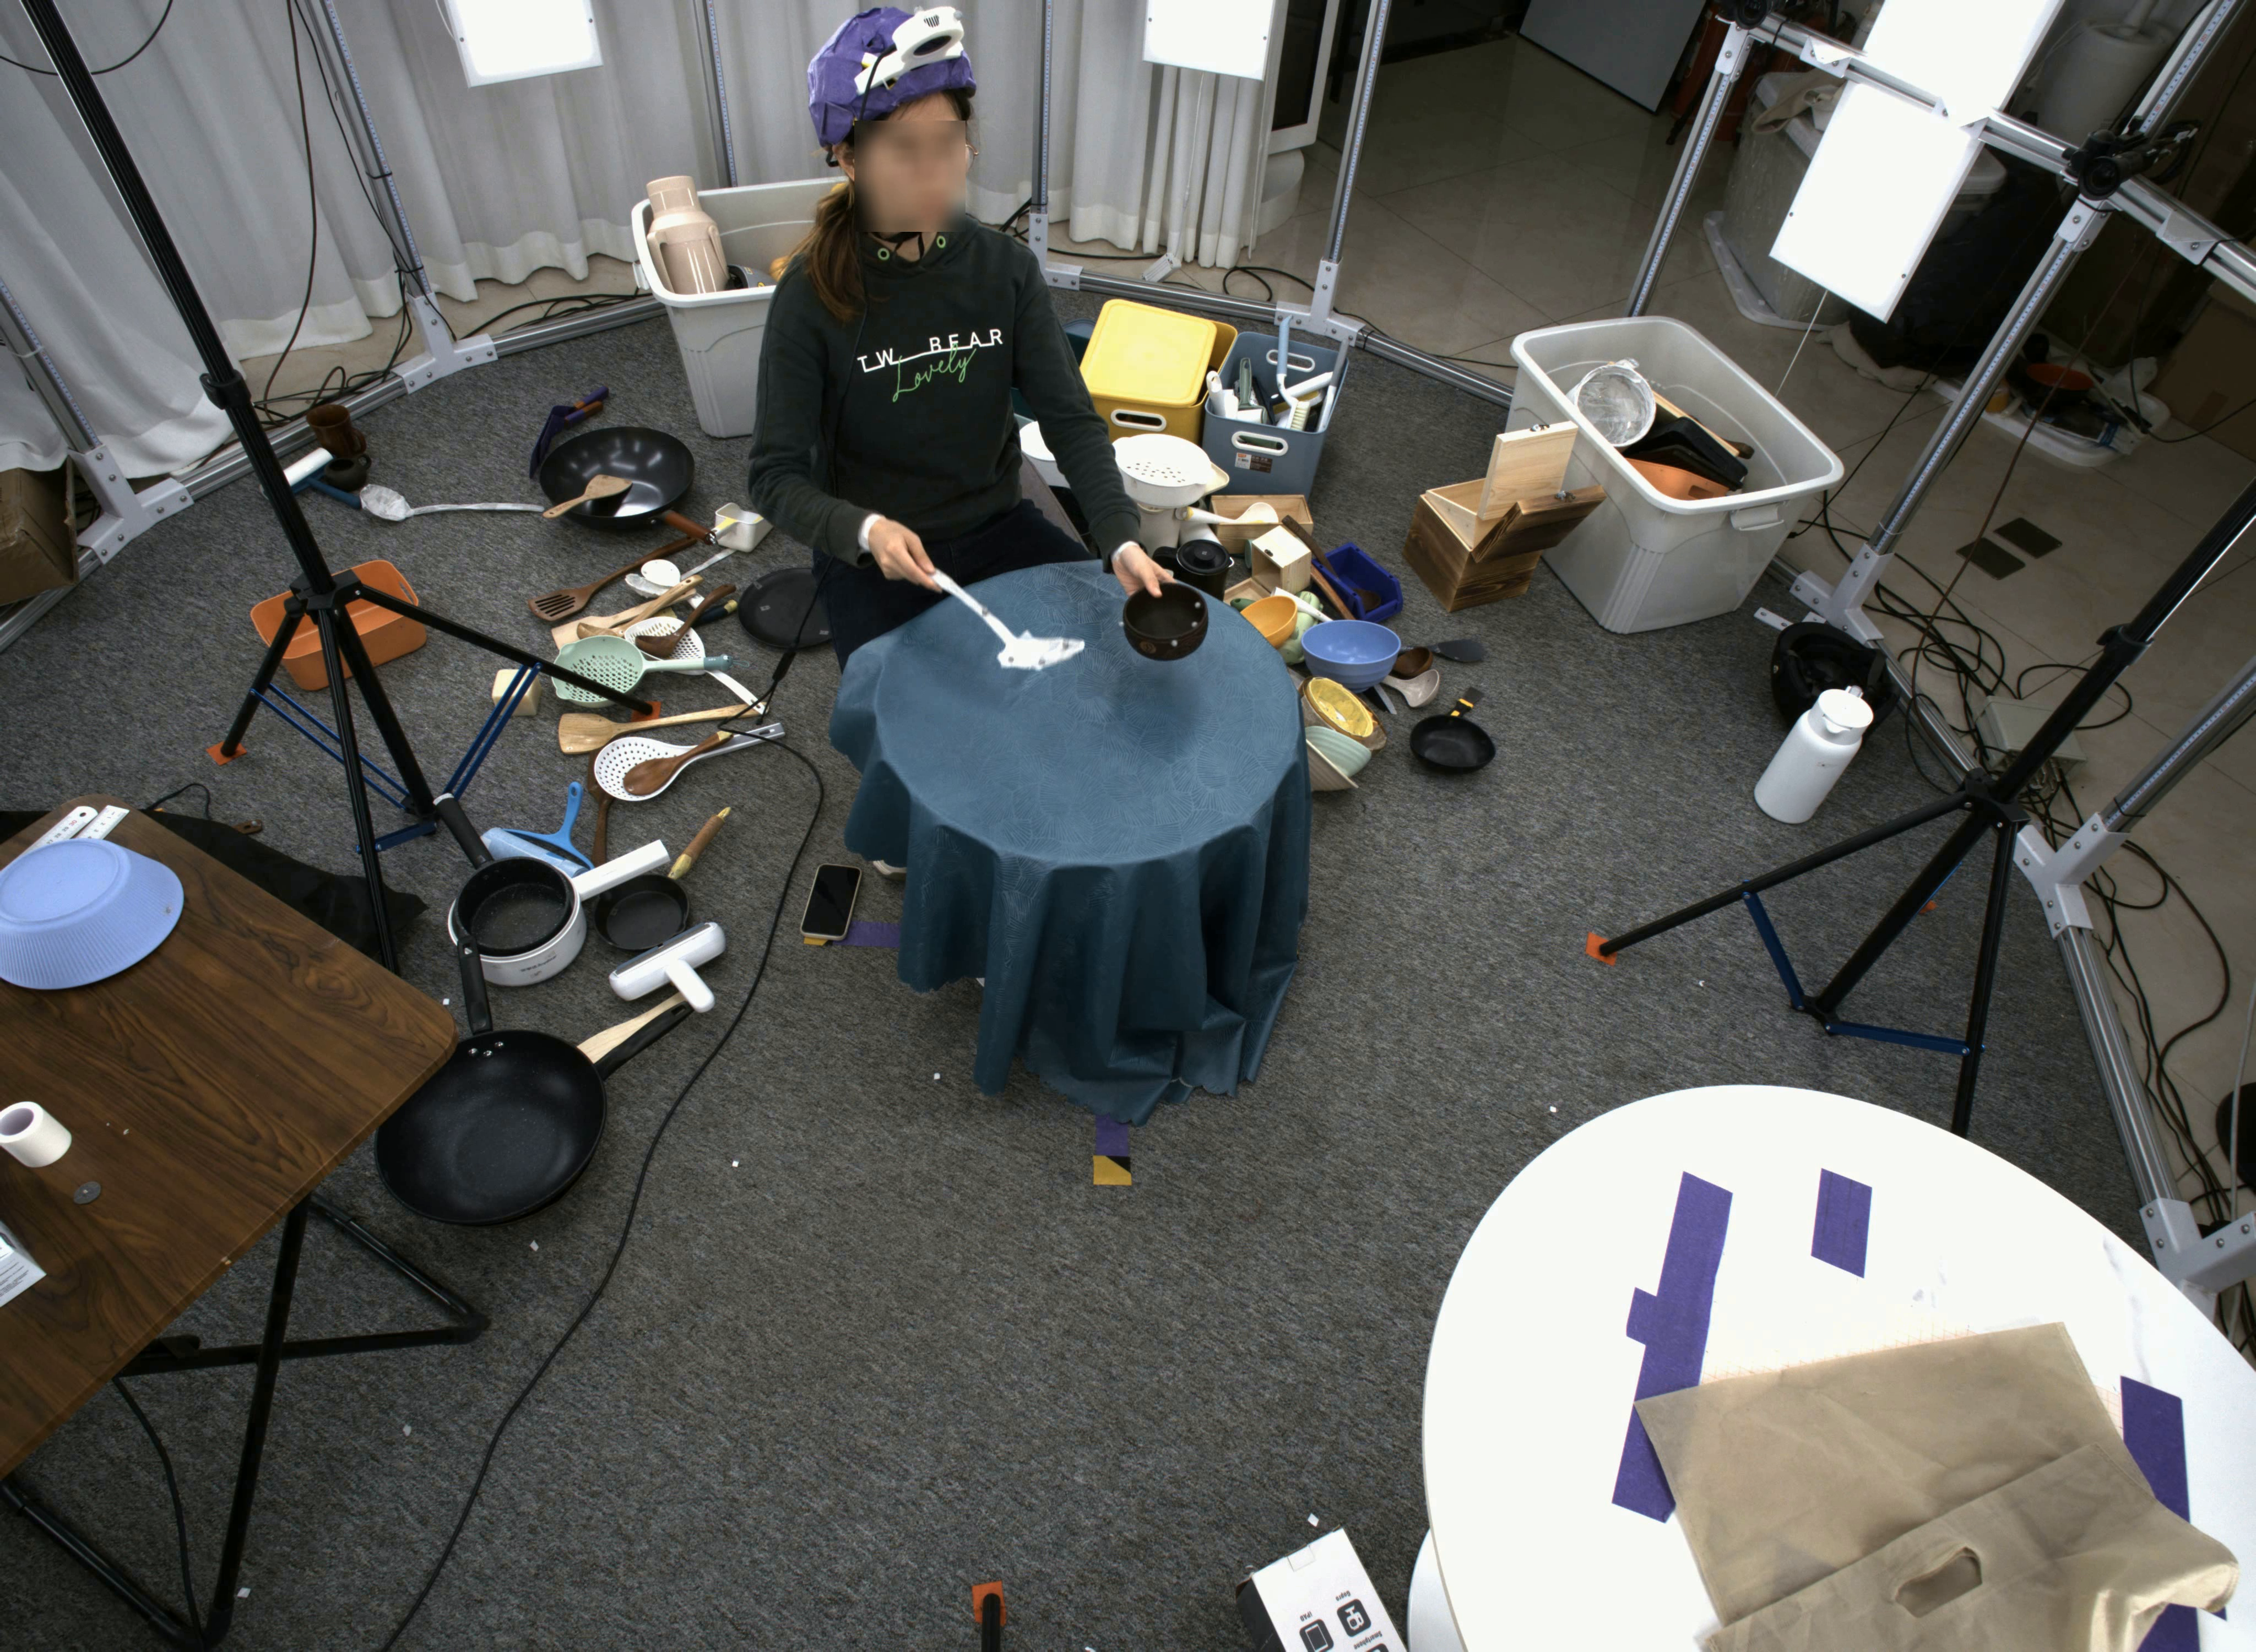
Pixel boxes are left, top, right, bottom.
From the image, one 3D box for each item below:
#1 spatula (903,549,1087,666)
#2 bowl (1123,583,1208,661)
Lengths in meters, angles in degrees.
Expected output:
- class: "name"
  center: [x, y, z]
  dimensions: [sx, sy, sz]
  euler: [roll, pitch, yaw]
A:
- class: "spatula"
  center: [-0.197, -0.296, 1.692]
  dimensions: [0.099, 0.044, 0.371]
  euler: [-28, 52, -30]
- class: "bowl"
  center: [0.053, -0.276, 1.790]
  dimensions: [0.118, 0.068, 0.121]
  euler: [-3, 48, 3]
